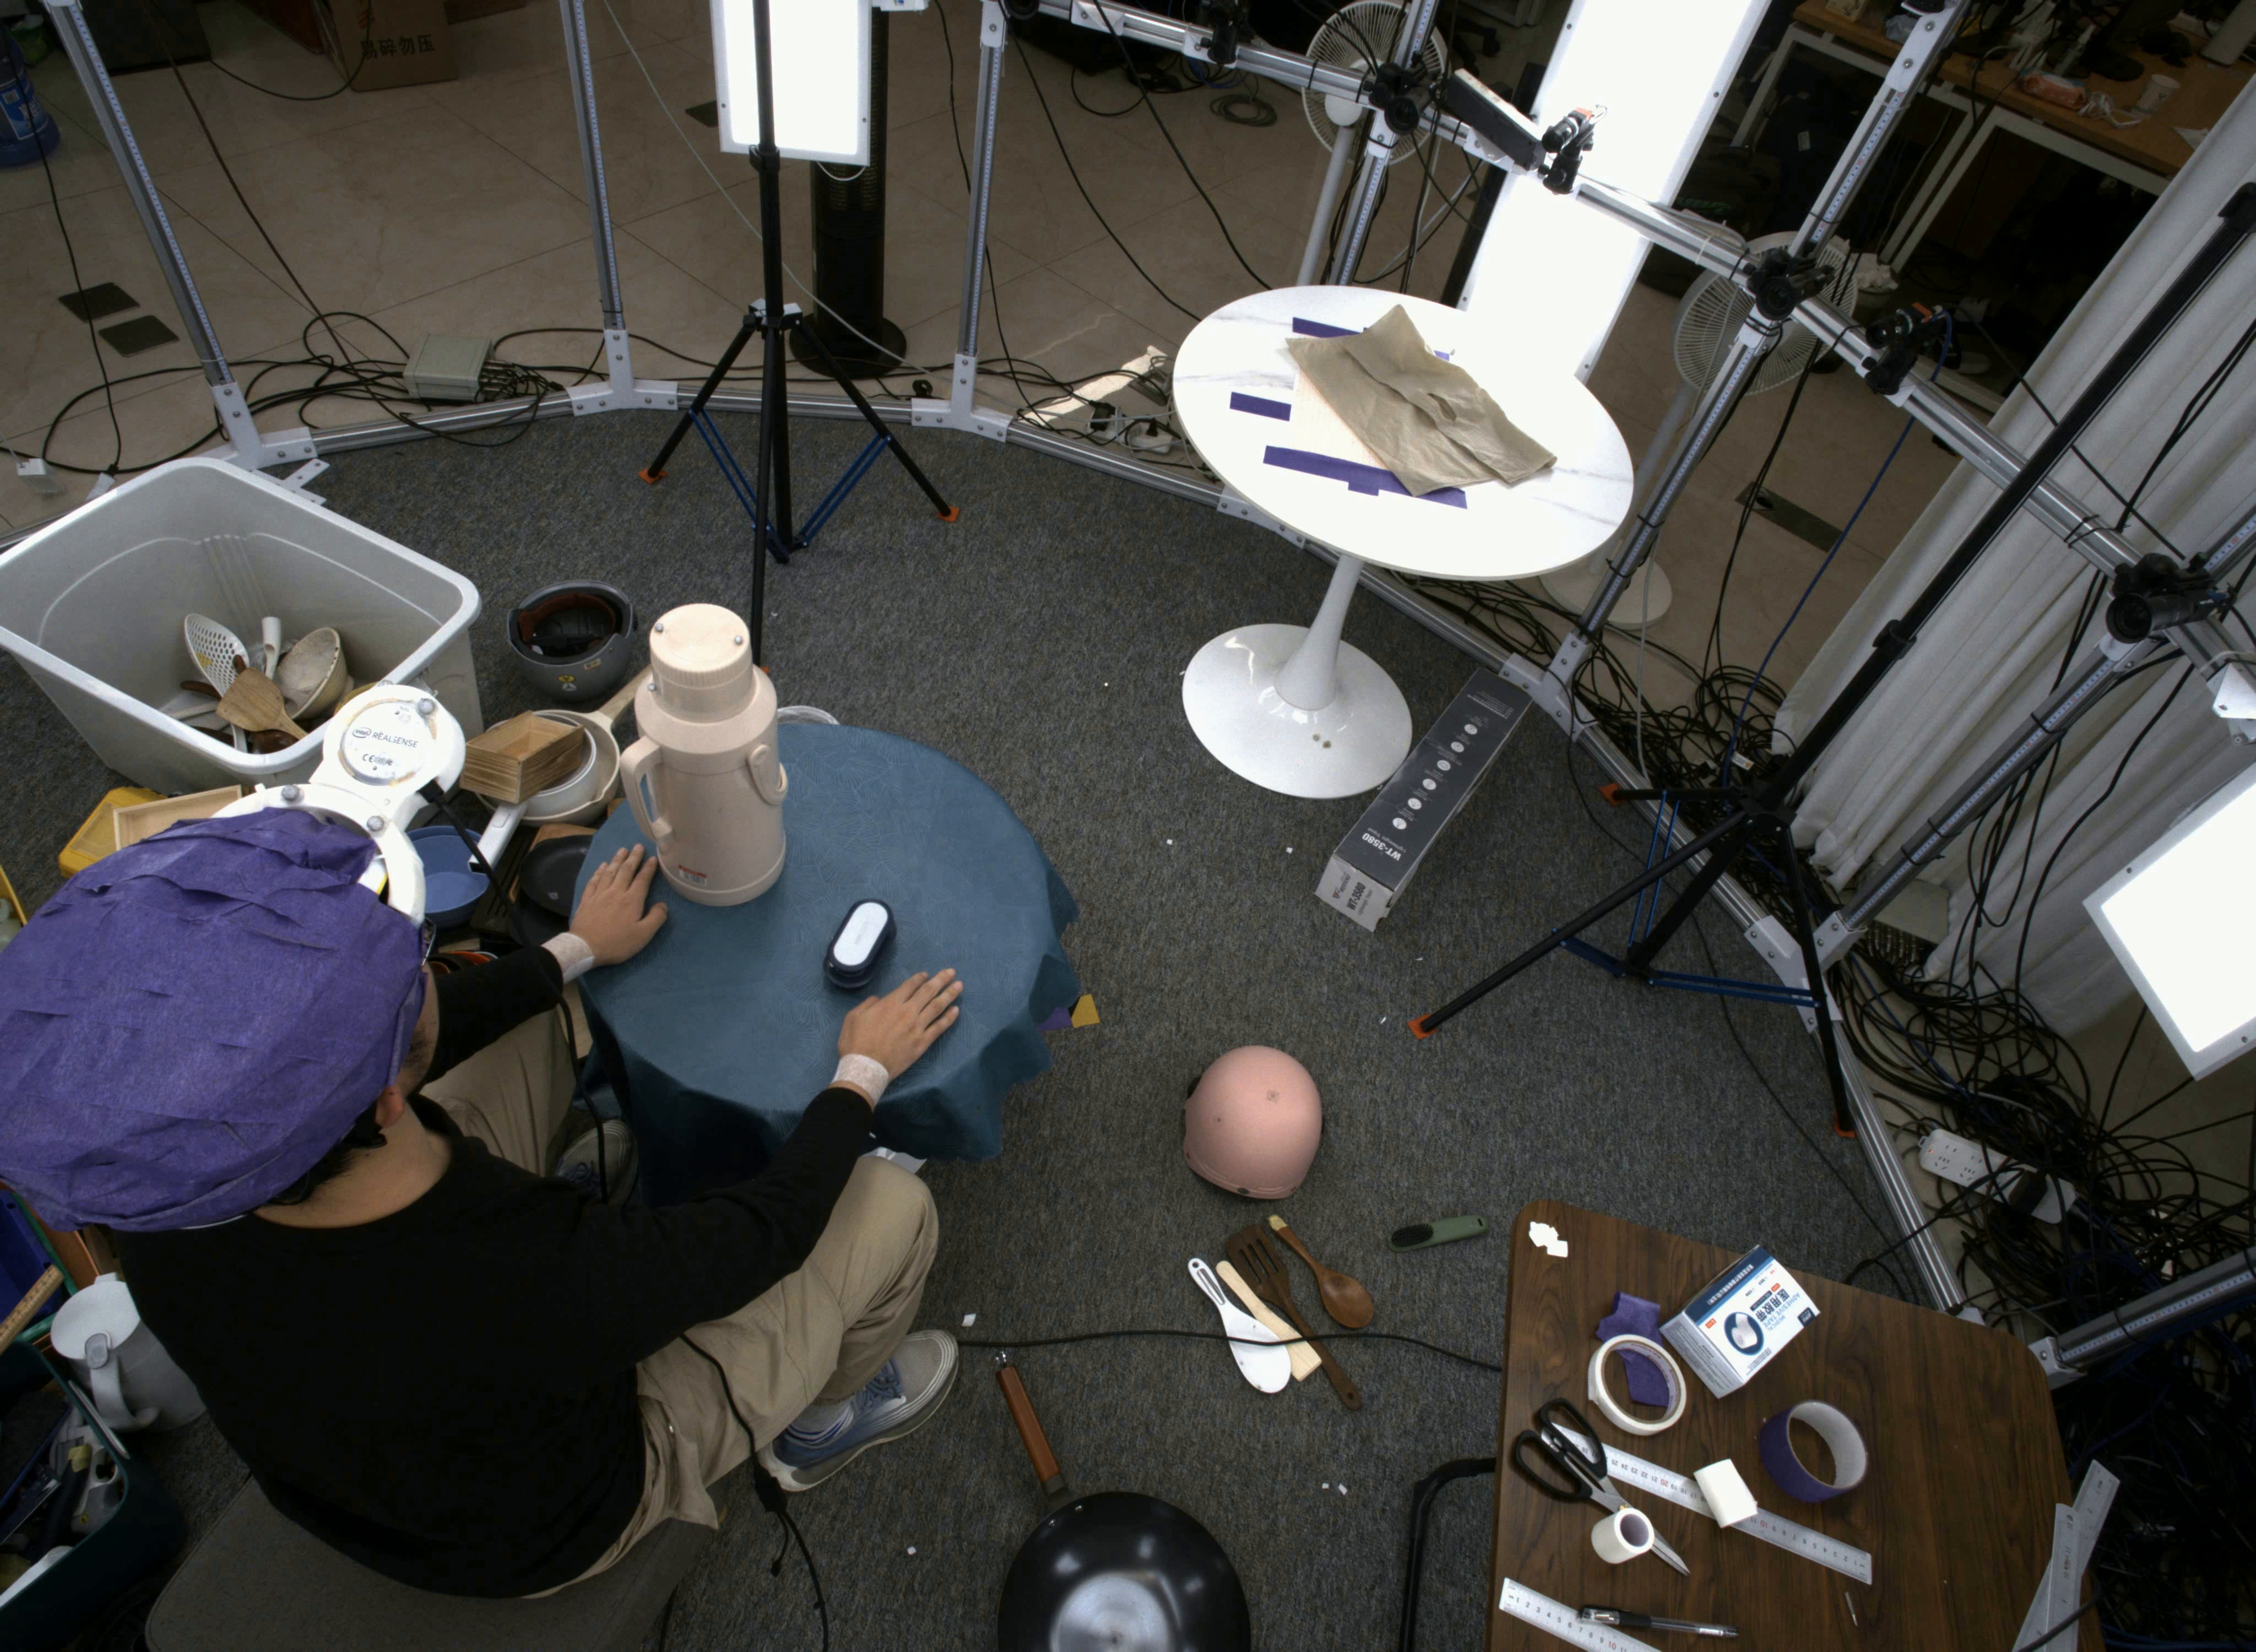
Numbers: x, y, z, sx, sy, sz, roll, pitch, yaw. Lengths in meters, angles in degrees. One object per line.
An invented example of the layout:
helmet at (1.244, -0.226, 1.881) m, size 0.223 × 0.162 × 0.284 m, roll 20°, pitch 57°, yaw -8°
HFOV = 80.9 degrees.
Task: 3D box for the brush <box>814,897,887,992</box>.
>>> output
brush at (-0.341, 0.145, 1.597) m, size 0.067 × 0.063 × 0.120 m, roll 19°, pitch 49°, yaw 6°

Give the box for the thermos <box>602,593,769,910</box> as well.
thermos at (-0.518, -0.076, 1.494) m, size 0.172 × 0.414 × 0.207 m, roll 34°, pitch 53°, yaw 13°
